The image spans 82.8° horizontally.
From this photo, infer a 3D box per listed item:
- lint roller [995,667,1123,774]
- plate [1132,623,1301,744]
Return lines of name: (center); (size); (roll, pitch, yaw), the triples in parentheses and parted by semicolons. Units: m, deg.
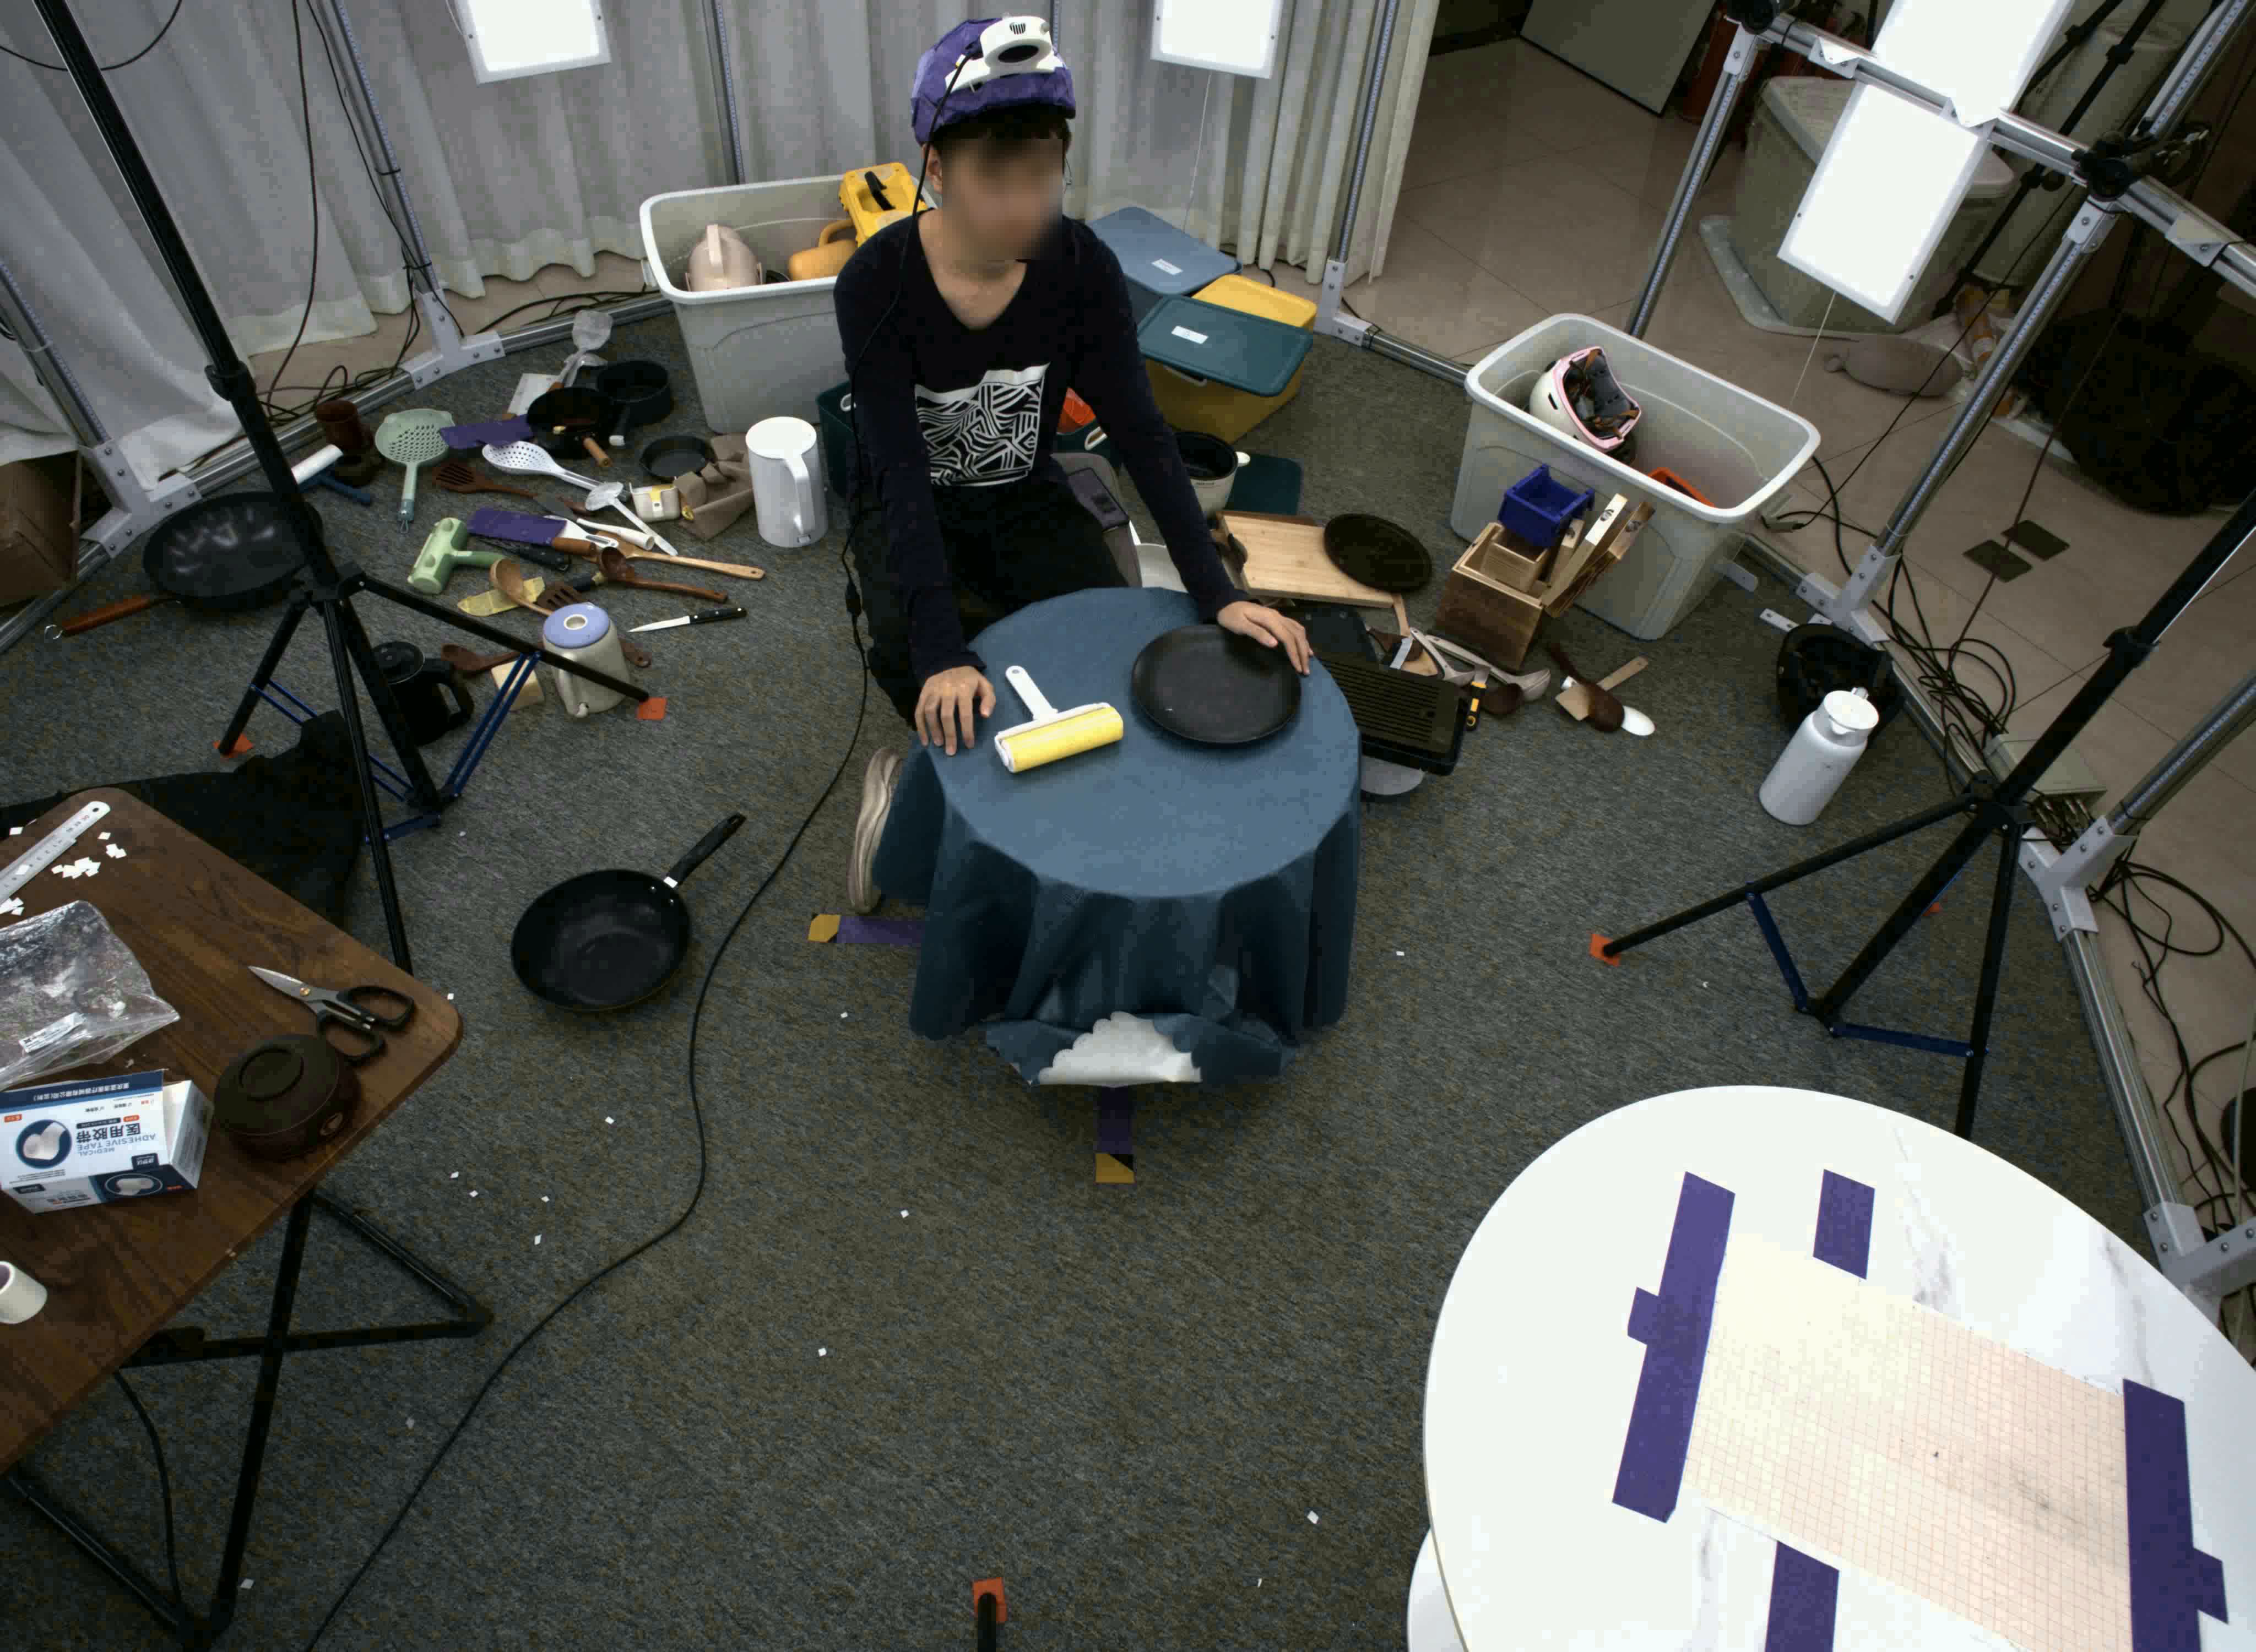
lint roller: (-0.122, -0.167, 1.772); (0.174, 0.050, 0.196); (-19, 56, -21)
plate: (0.126, -0.202, 1.836); (0.244, 0.023, 0.250); (2, 49, -2)
